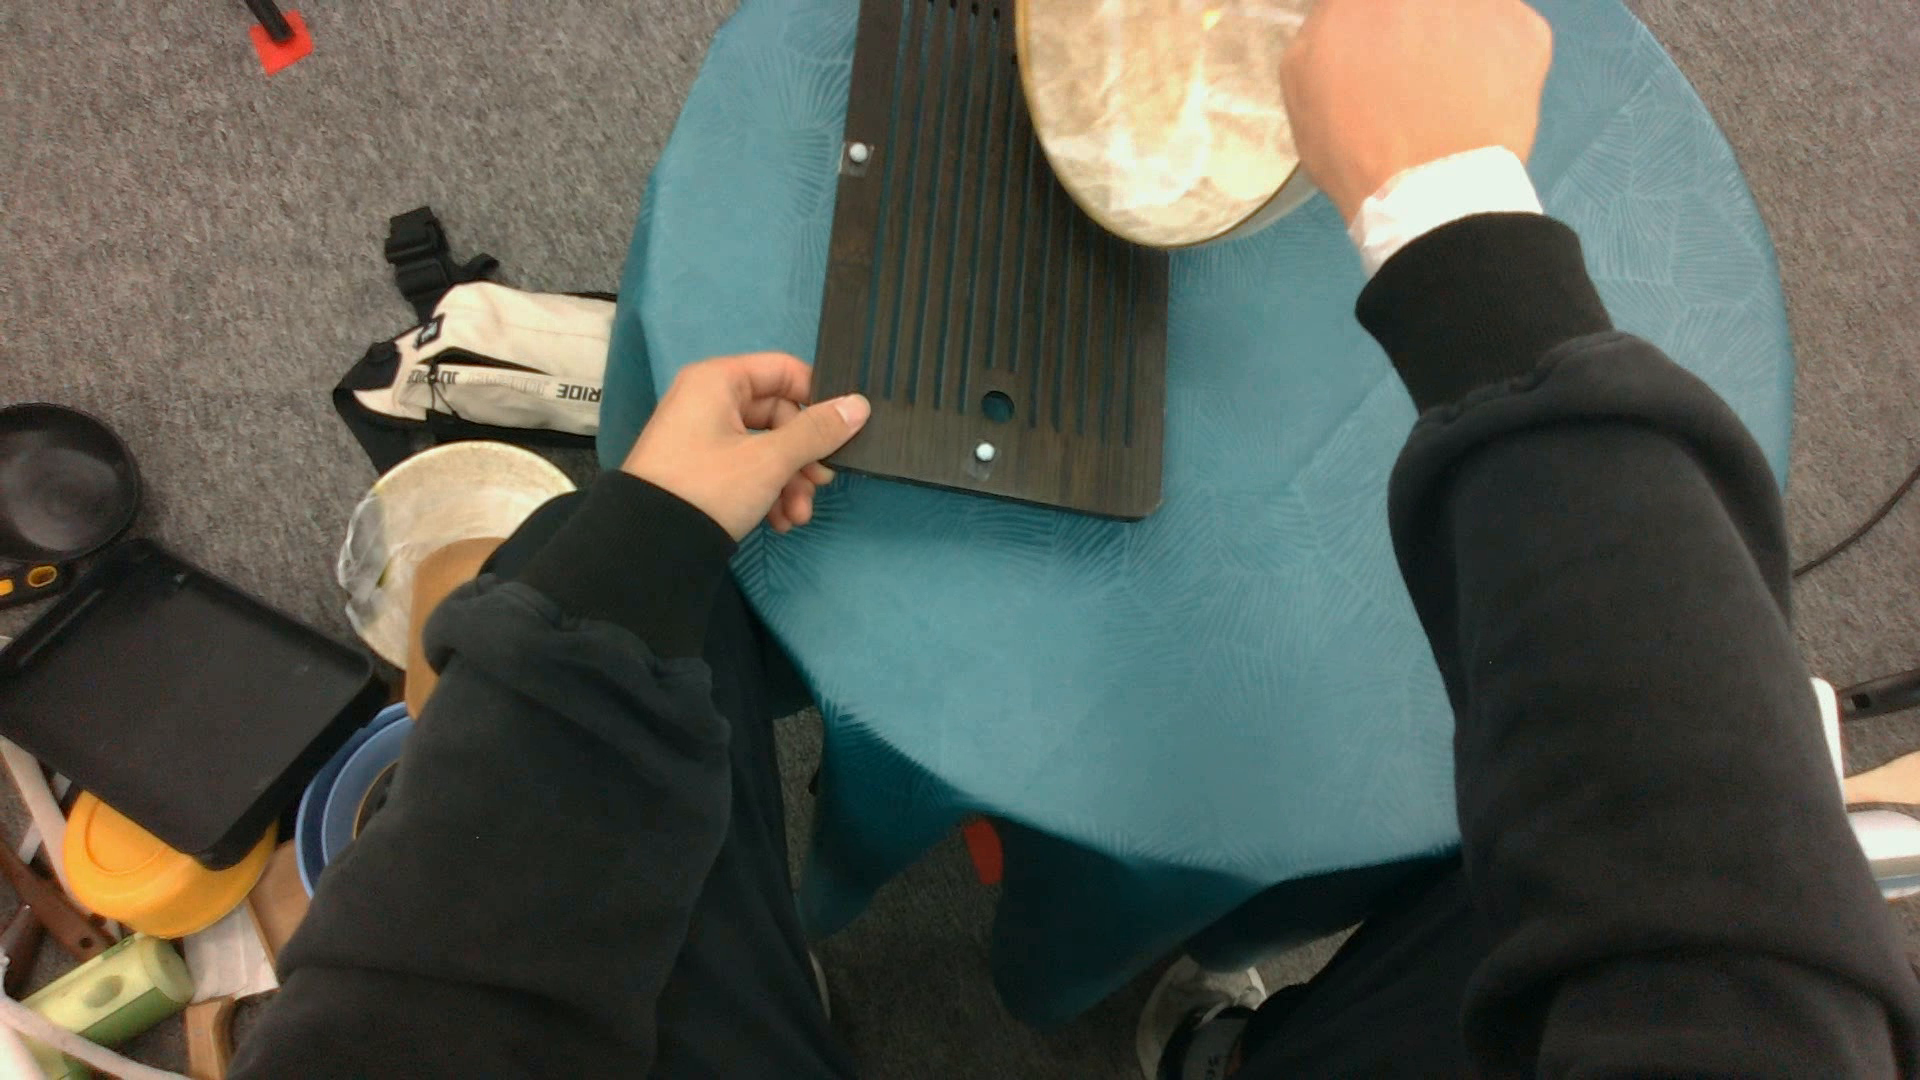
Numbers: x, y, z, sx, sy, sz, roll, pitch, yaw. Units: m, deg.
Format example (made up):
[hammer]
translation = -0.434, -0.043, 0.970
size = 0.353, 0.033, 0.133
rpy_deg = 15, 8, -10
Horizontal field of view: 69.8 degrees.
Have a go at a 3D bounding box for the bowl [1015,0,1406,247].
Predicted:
[bowl]
translation = 0.126, -0.243, 0.627
size = 0.095, 0.213, 0.215
rpy_deg = -12, 72, -35

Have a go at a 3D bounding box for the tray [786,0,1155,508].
[tray]
translation = 0.013, -0.167, 0.682
size = 0.170, 0.018, 0.307
rpy_deg = 10, 68, -13
